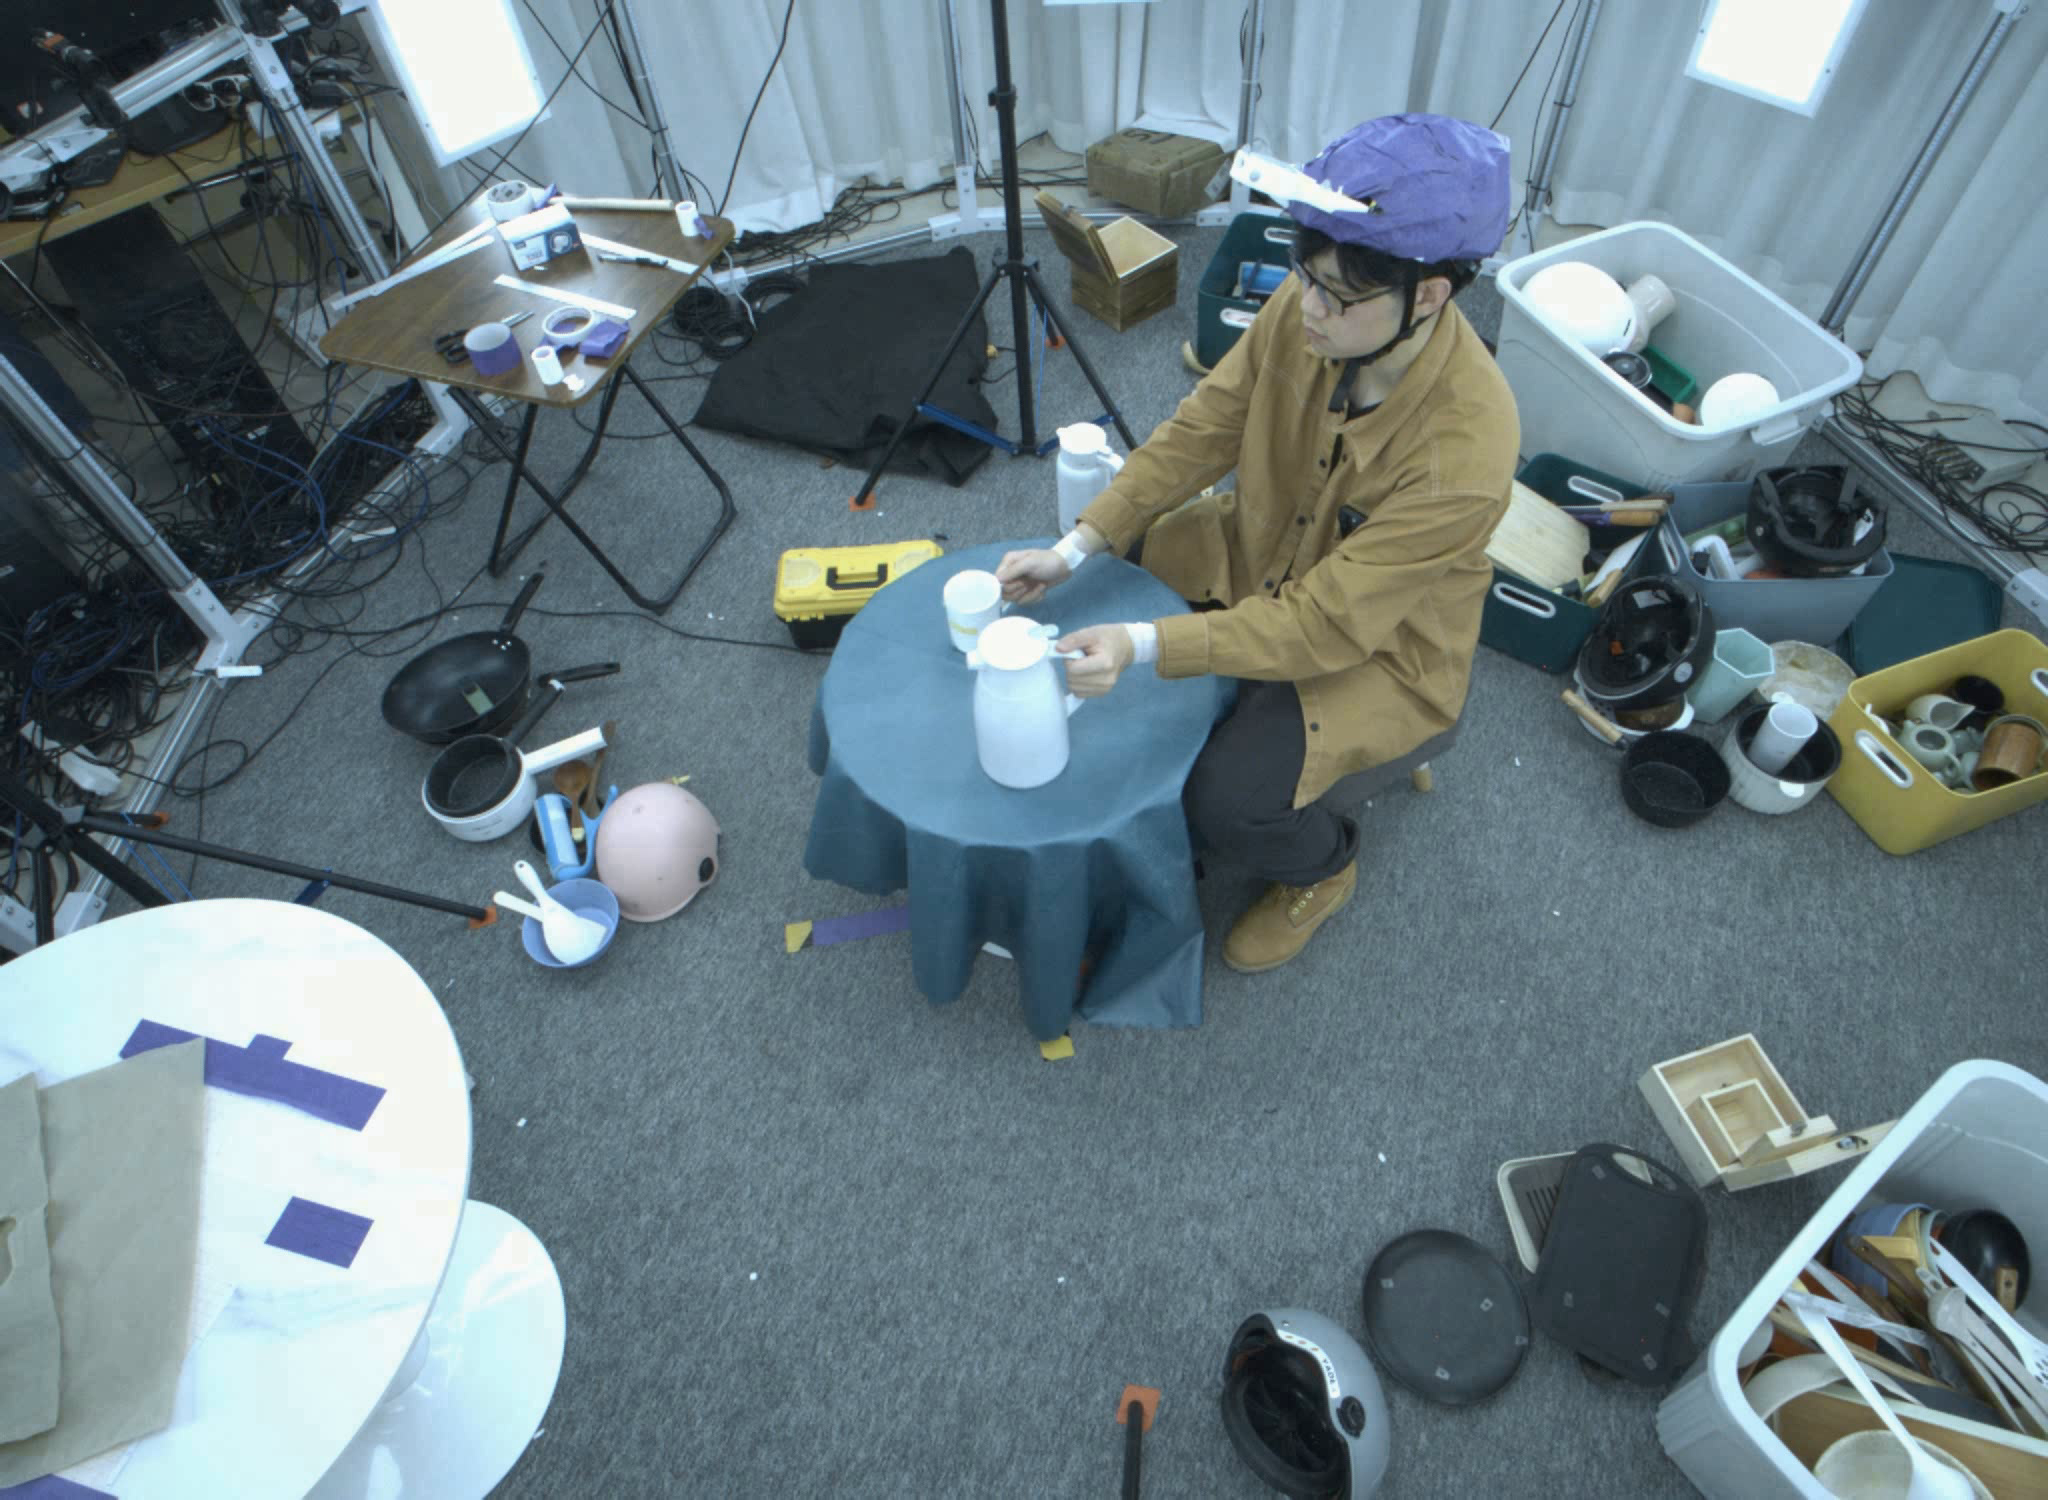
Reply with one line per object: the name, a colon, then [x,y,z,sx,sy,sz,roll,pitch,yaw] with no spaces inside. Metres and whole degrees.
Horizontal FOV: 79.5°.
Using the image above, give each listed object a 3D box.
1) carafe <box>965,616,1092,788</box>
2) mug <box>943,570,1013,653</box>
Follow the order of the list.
carafe: [0.010,-0.076,1.684,0.168,0.251,0.130,-14,54,-7]
mug: [-0.065,-0.218,1.877,0.119,0.103,0.083,-38,60,-22]
